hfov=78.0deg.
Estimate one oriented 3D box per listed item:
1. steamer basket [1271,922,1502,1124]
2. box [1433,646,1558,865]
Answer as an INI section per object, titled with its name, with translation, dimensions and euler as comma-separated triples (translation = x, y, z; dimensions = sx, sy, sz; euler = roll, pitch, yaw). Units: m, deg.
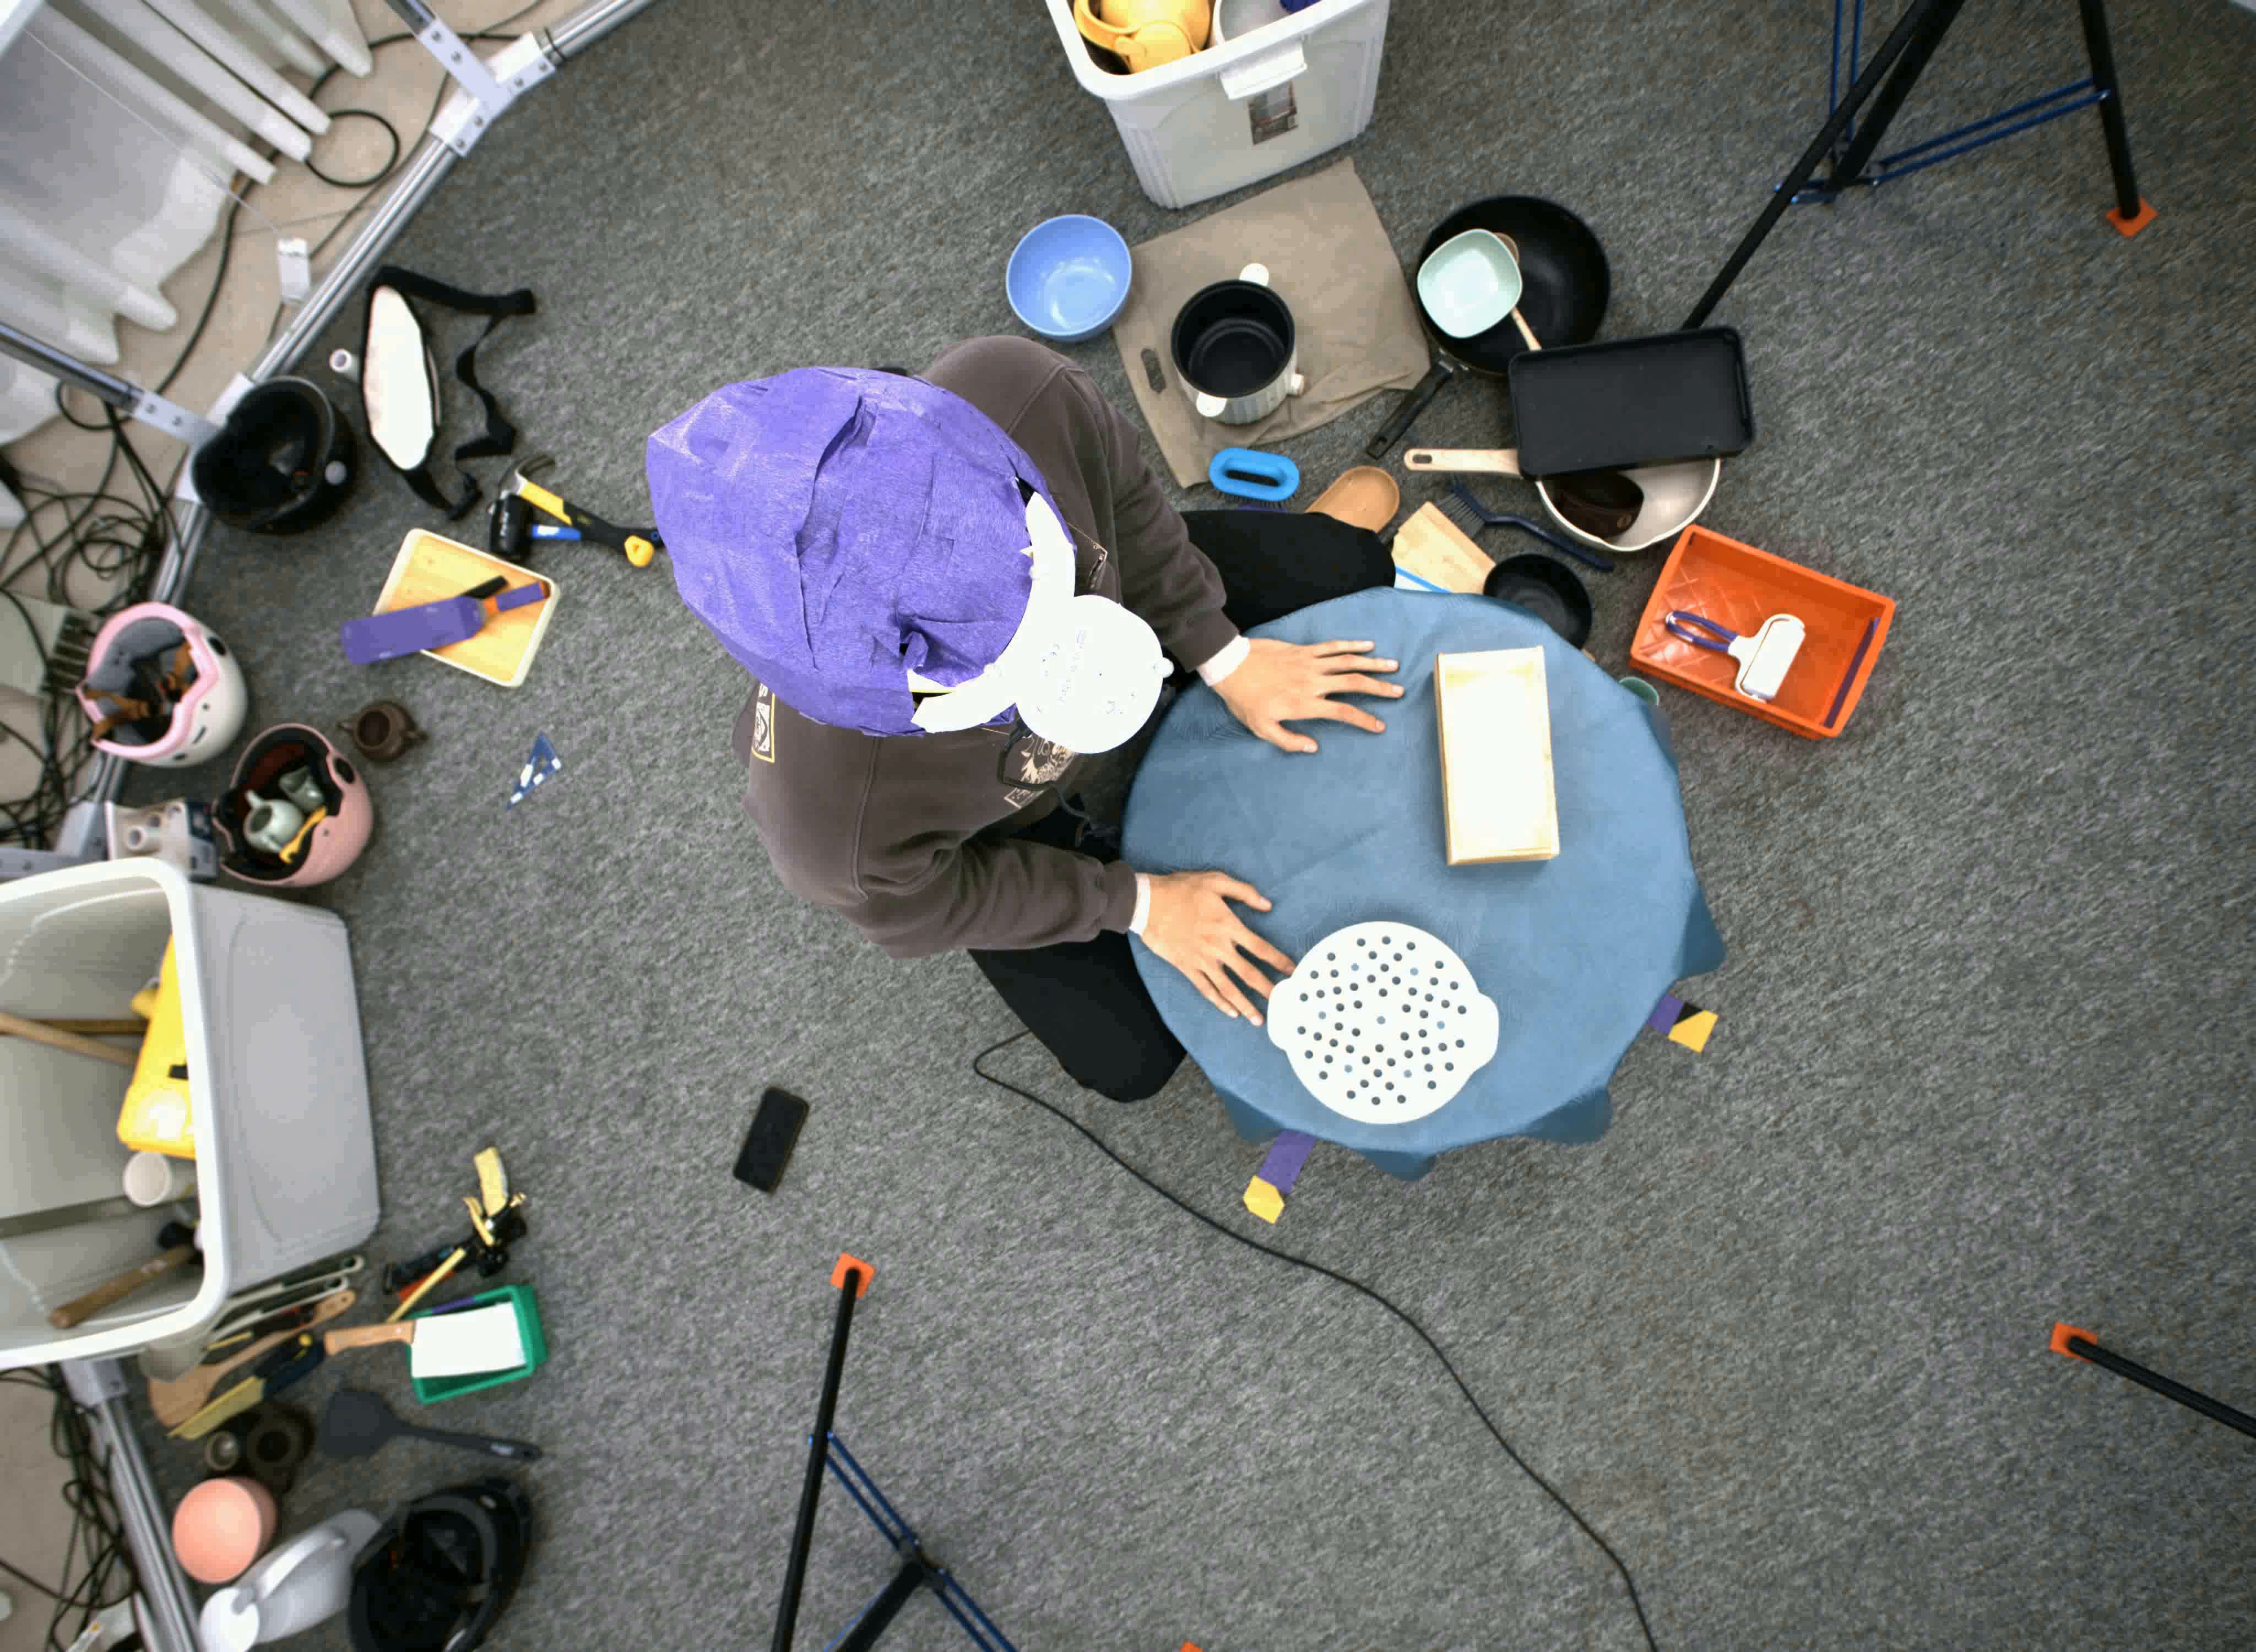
[steamer basket]
translation = 0.264, 0.199, 1.418
dimensions = 0.231, 0.069, 0.201
euler = 3, 87, 12
[box]
translation = 0.375, -0.072, 1.404
dimensions = 0.108, 0.080, 0.210
euler = -4, 86, 11
